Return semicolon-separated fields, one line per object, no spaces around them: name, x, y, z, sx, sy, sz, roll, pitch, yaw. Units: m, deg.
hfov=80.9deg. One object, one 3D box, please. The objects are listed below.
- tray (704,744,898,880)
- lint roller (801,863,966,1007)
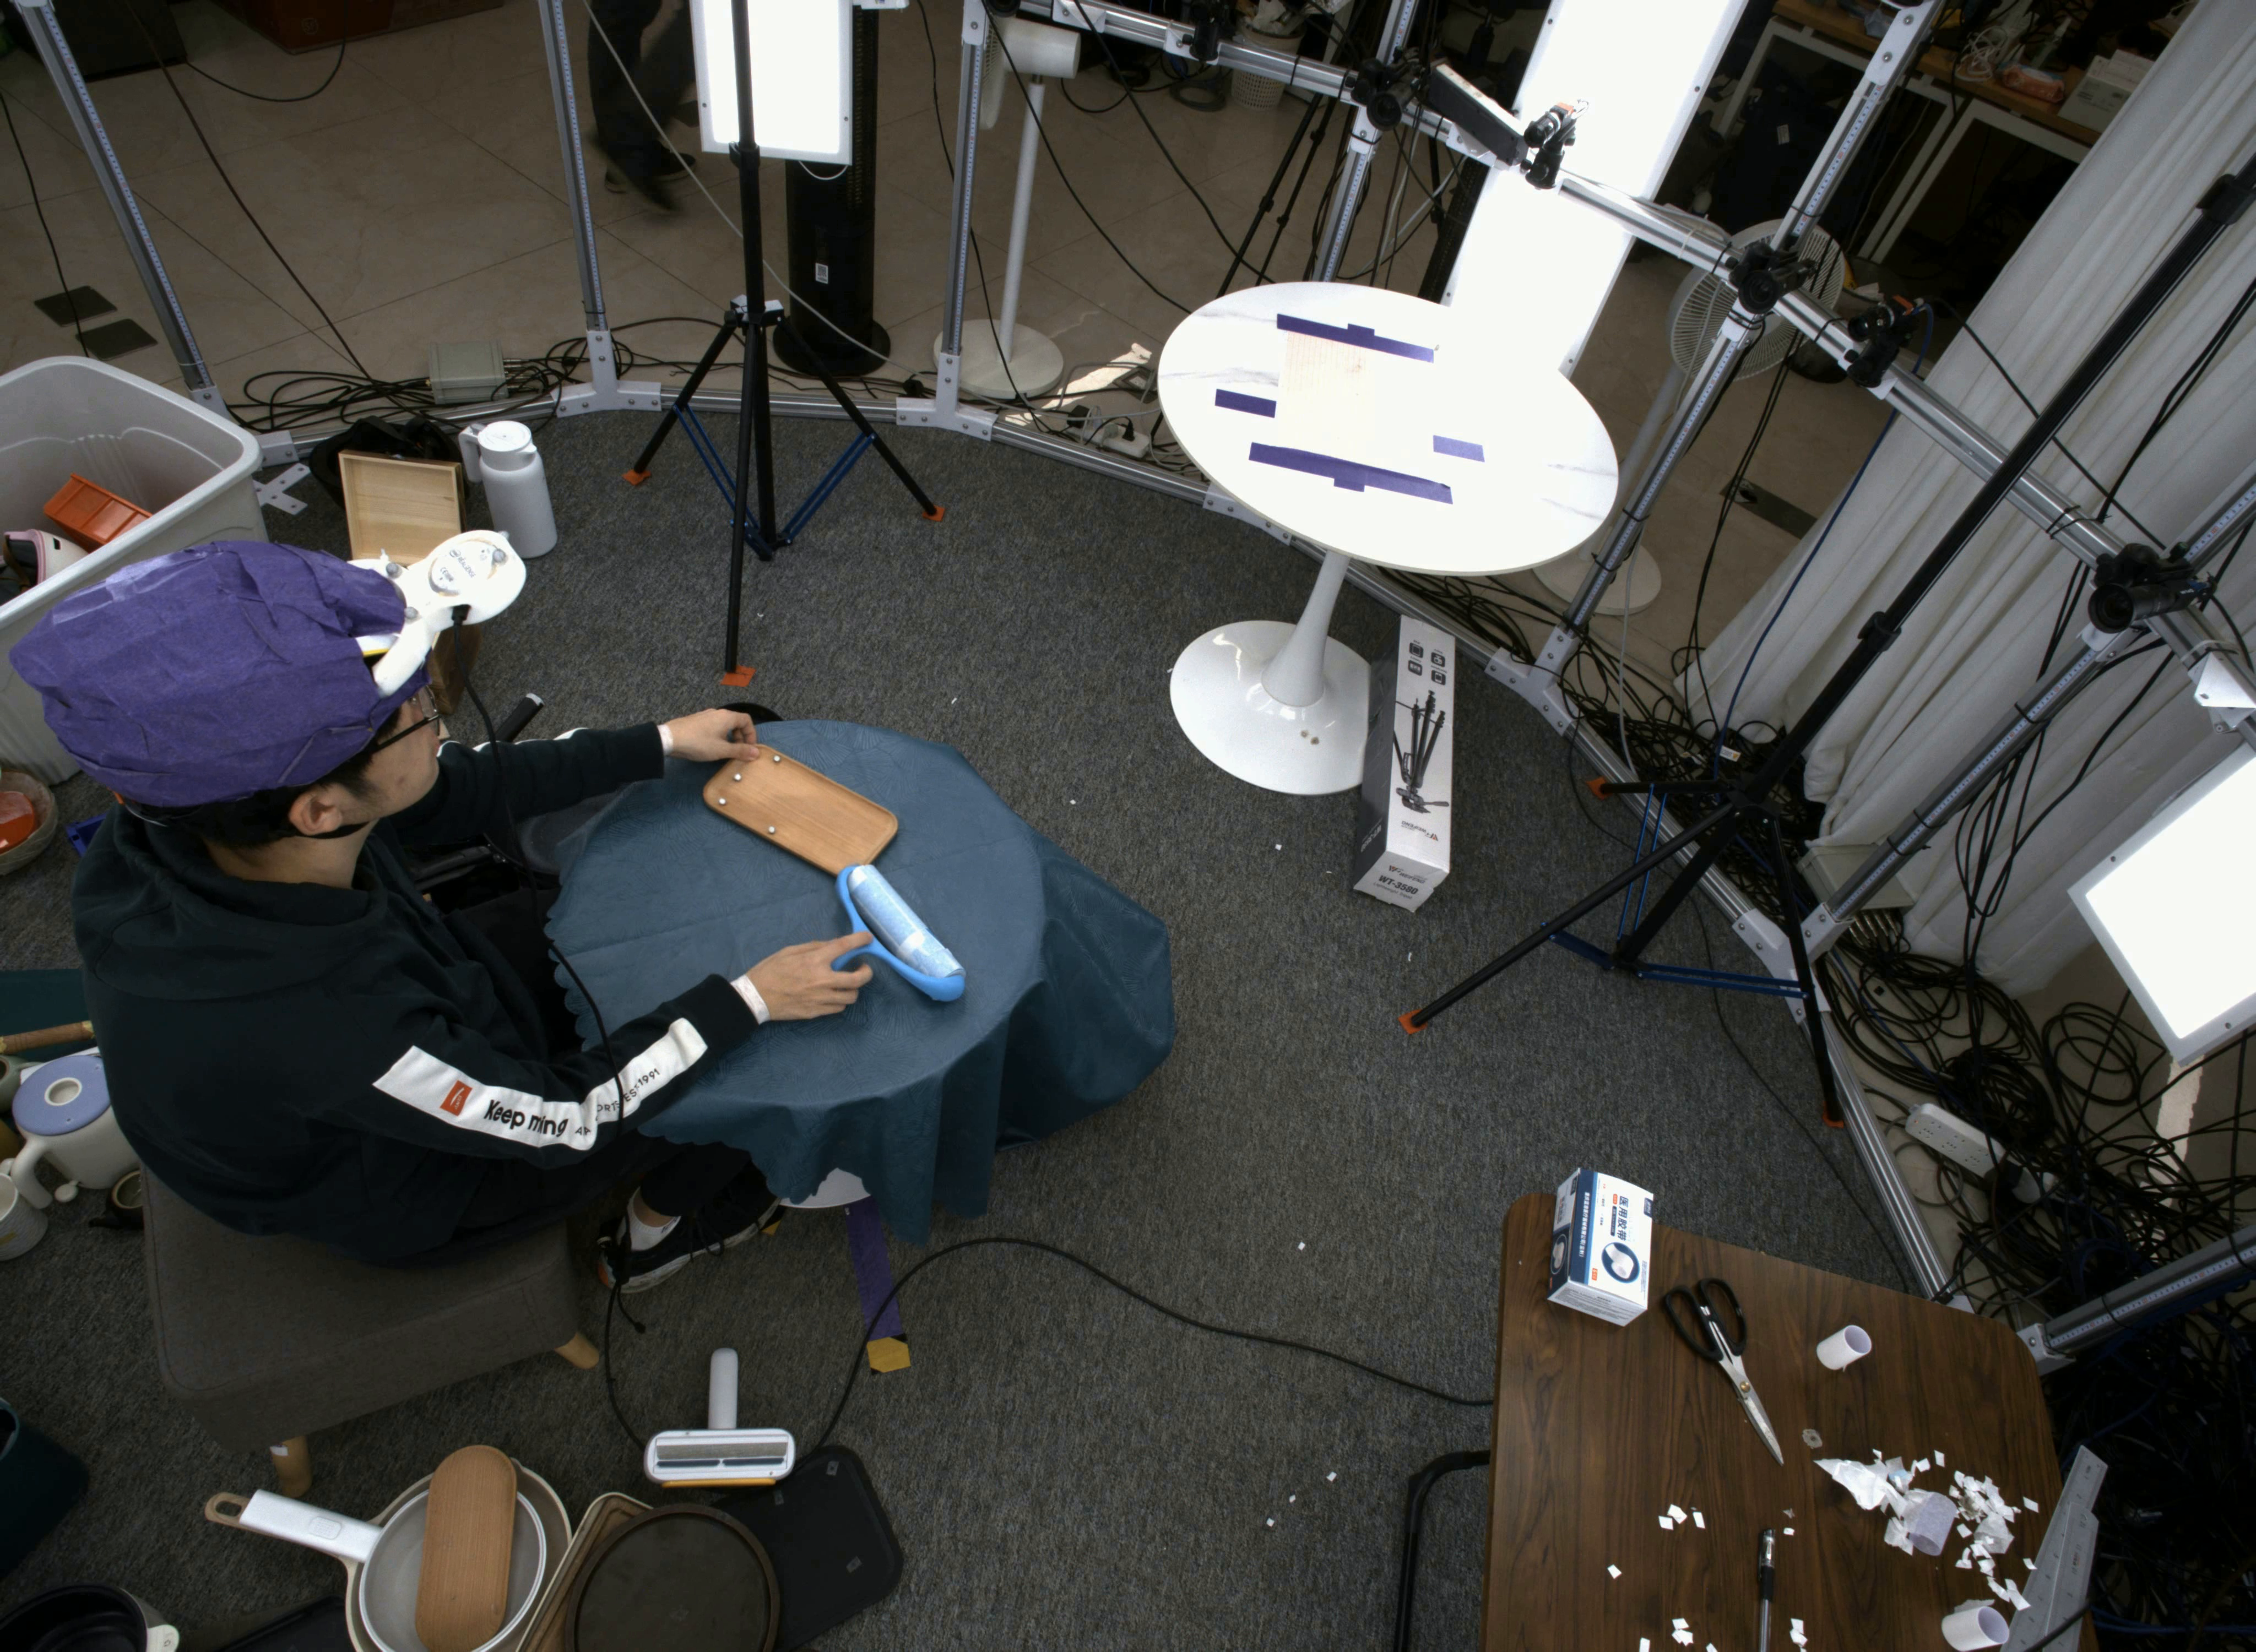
tray;-0.436;-0.020;1.731;0.247;0.023;0.130;29;55;6
lint roller;-0.324;0.156;1.604;0.224;0.069;0.181;44;55;16
